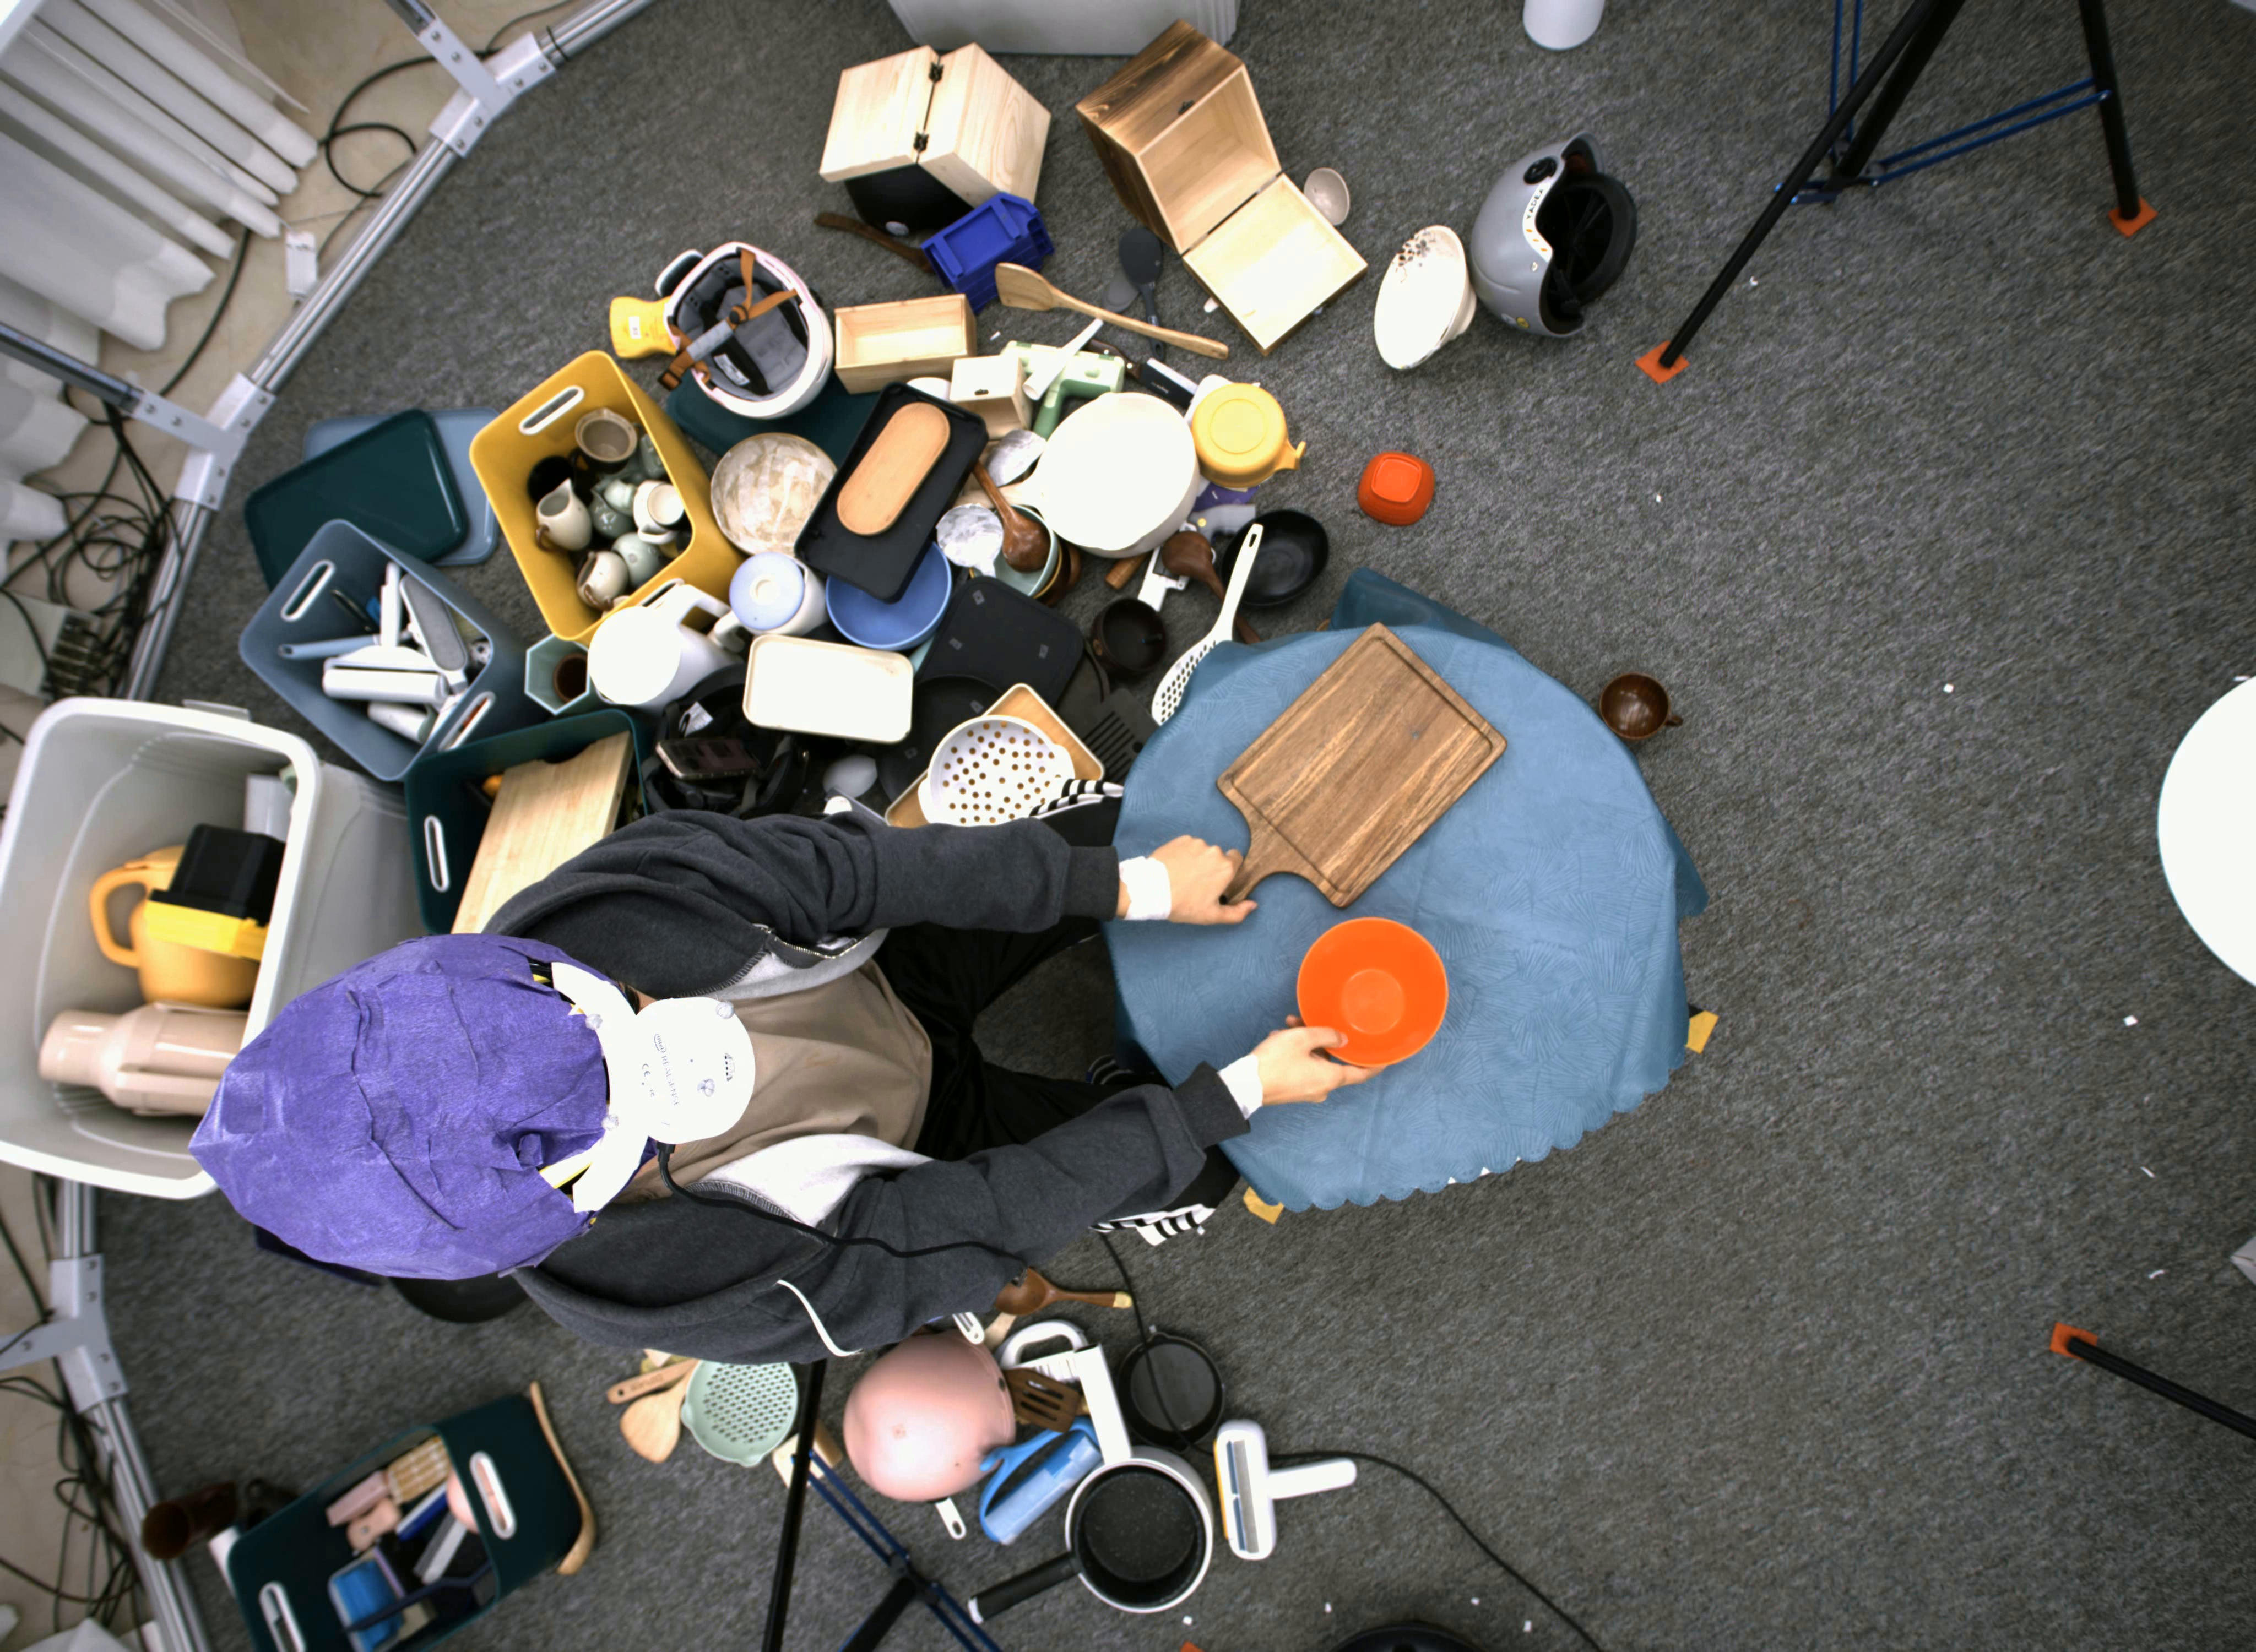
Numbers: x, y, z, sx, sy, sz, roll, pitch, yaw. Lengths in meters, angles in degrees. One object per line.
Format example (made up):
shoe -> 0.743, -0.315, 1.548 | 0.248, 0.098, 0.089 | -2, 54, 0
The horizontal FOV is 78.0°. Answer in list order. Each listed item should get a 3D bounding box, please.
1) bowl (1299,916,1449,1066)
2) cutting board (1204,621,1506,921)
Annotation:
bowl -> 0.249, 0.167, 1.407 | 0.148, 0.105, 0.147 | -1, 85, 10
cutting board -> 0.209, -0.032, 1.466 | 0.354, 0.023, 0.200 | -45, 80, 5
